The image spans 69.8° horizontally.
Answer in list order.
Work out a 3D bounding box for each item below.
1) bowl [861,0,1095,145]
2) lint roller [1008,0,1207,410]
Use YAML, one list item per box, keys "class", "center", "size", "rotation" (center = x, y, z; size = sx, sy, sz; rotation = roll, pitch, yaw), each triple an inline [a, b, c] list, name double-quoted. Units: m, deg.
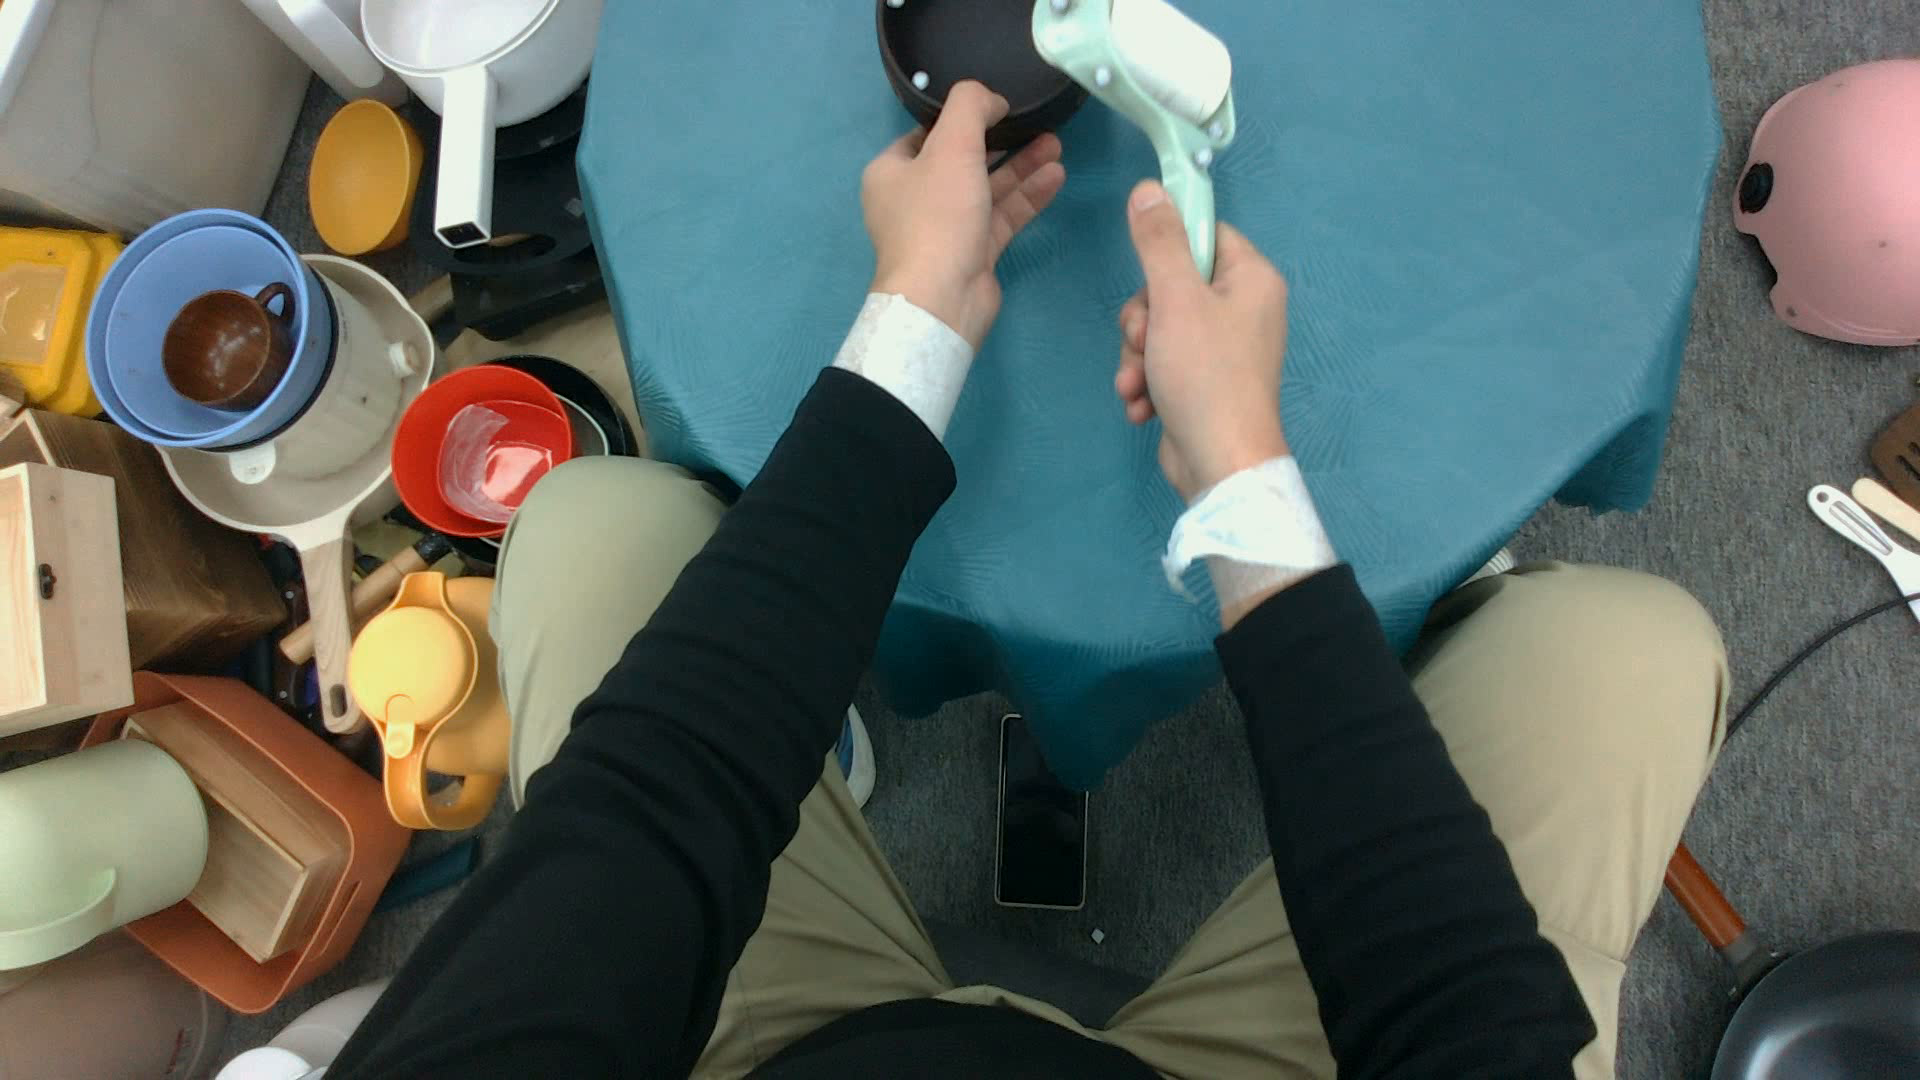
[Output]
- class: "bowl"
  center: [0.010, -0.259, 0.711]
  size: [0.118, 0.070, 0.118]
  rotation: [0, 82, 2]
- class: "lint roller"
  center: [0.080, -0.159, 0.636]
  size: [0.048, 0.117, 0.198]
  rotation: [-17, 76, 35]
